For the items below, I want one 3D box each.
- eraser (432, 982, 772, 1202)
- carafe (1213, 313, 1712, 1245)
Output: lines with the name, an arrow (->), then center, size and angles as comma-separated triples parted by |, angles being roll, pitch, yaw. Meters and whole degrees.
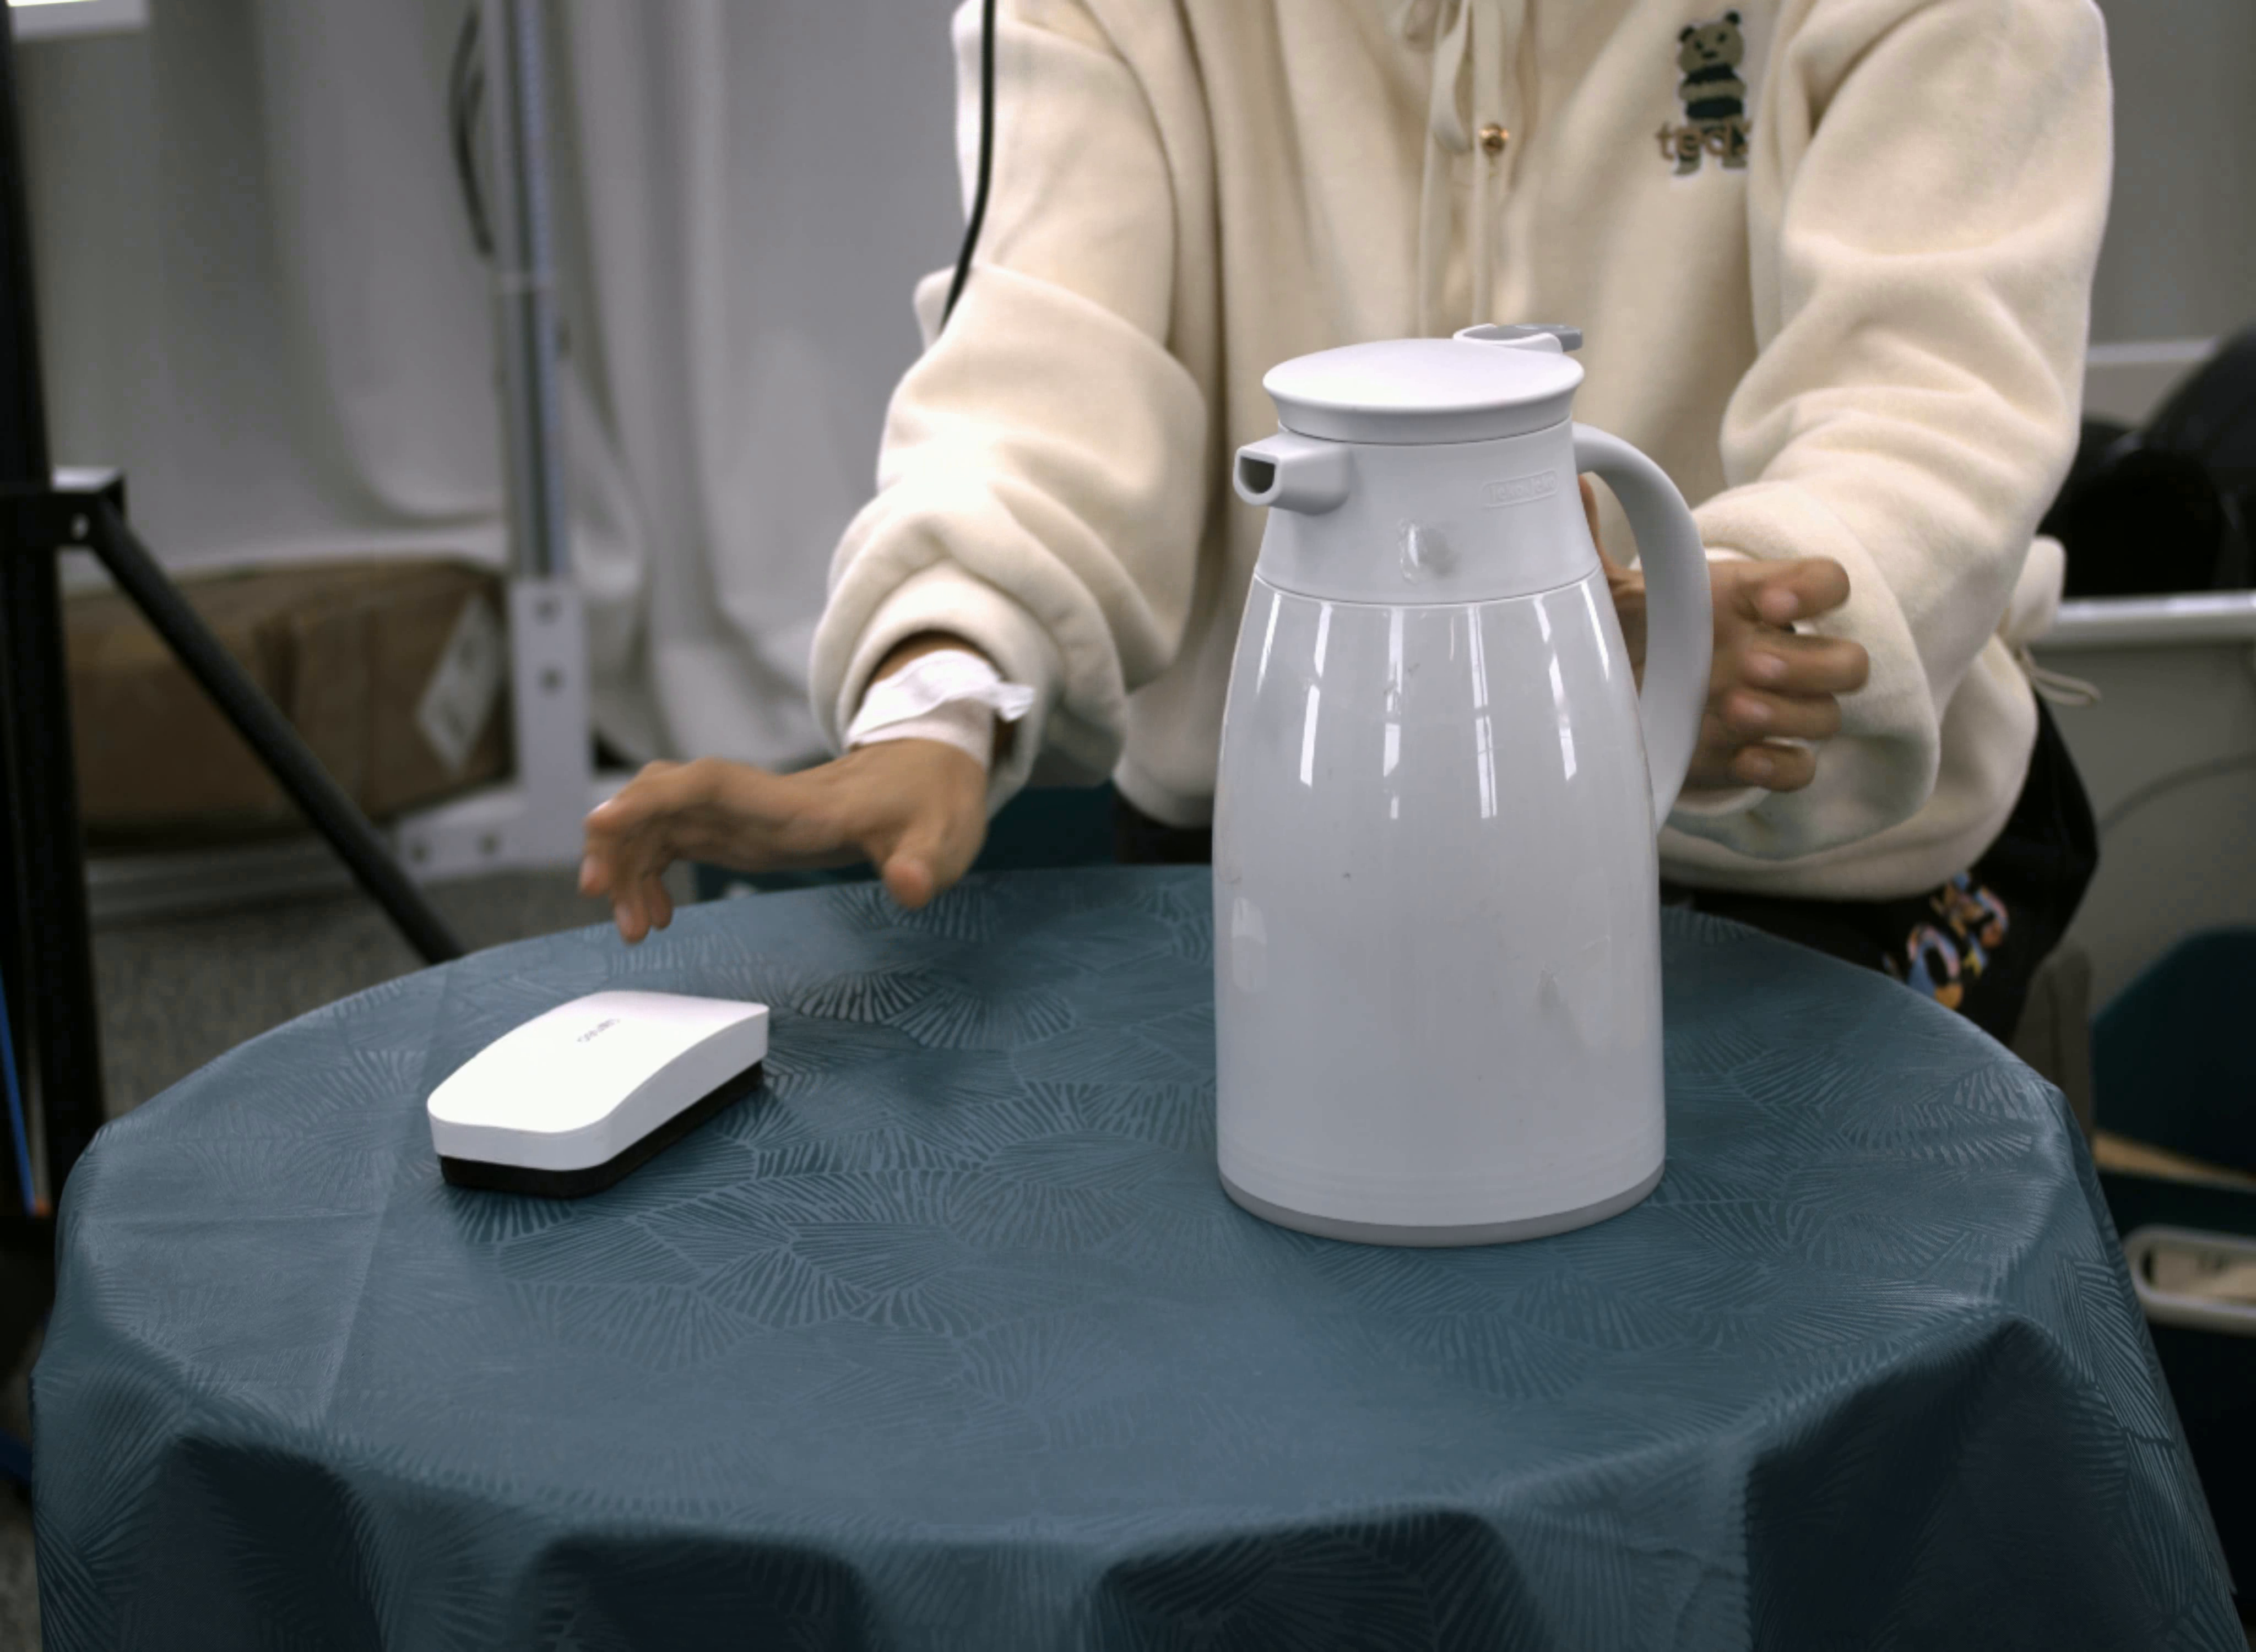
eraser -> -0.158, 0.078, 1.633 | 0.064, 0.034, 0.129 | 7, 19, 23
carafe -> 0.103, -0.021, 1.542 | 0.164, 0.249, 0.135 | -12, 18, -36
